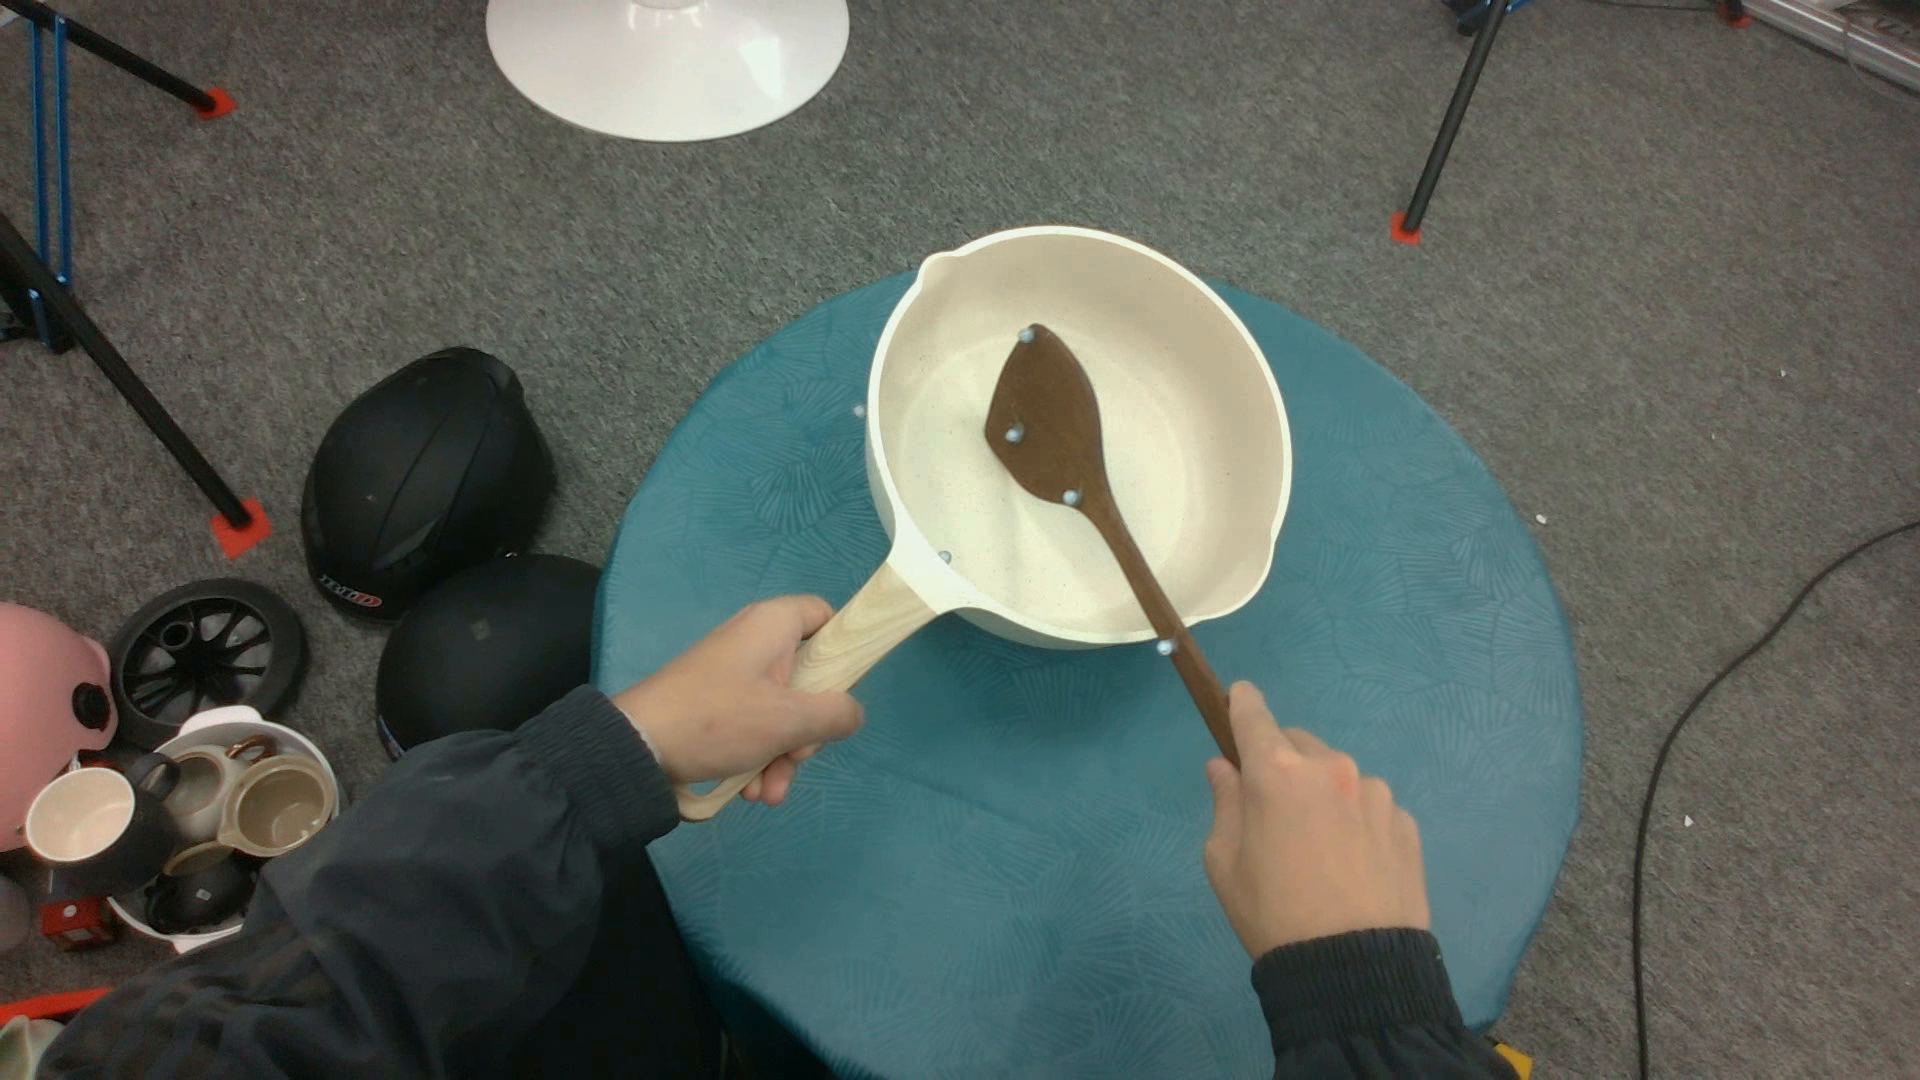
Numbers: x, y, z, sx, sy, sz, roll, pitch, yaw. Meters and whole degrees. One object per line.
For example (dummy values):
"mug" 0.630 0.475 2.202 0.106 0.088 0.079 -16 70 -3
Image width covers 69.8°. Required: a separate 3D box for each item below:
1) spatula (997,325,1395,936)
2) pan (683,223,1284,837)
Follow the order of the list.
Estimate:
"spatula" 0.111 0.035 0.719 0.016 0.095 0.387 -6 49 -29
"pan" 0.002 0.002 0.771 0.263 0.101 0.436 44 66 1
